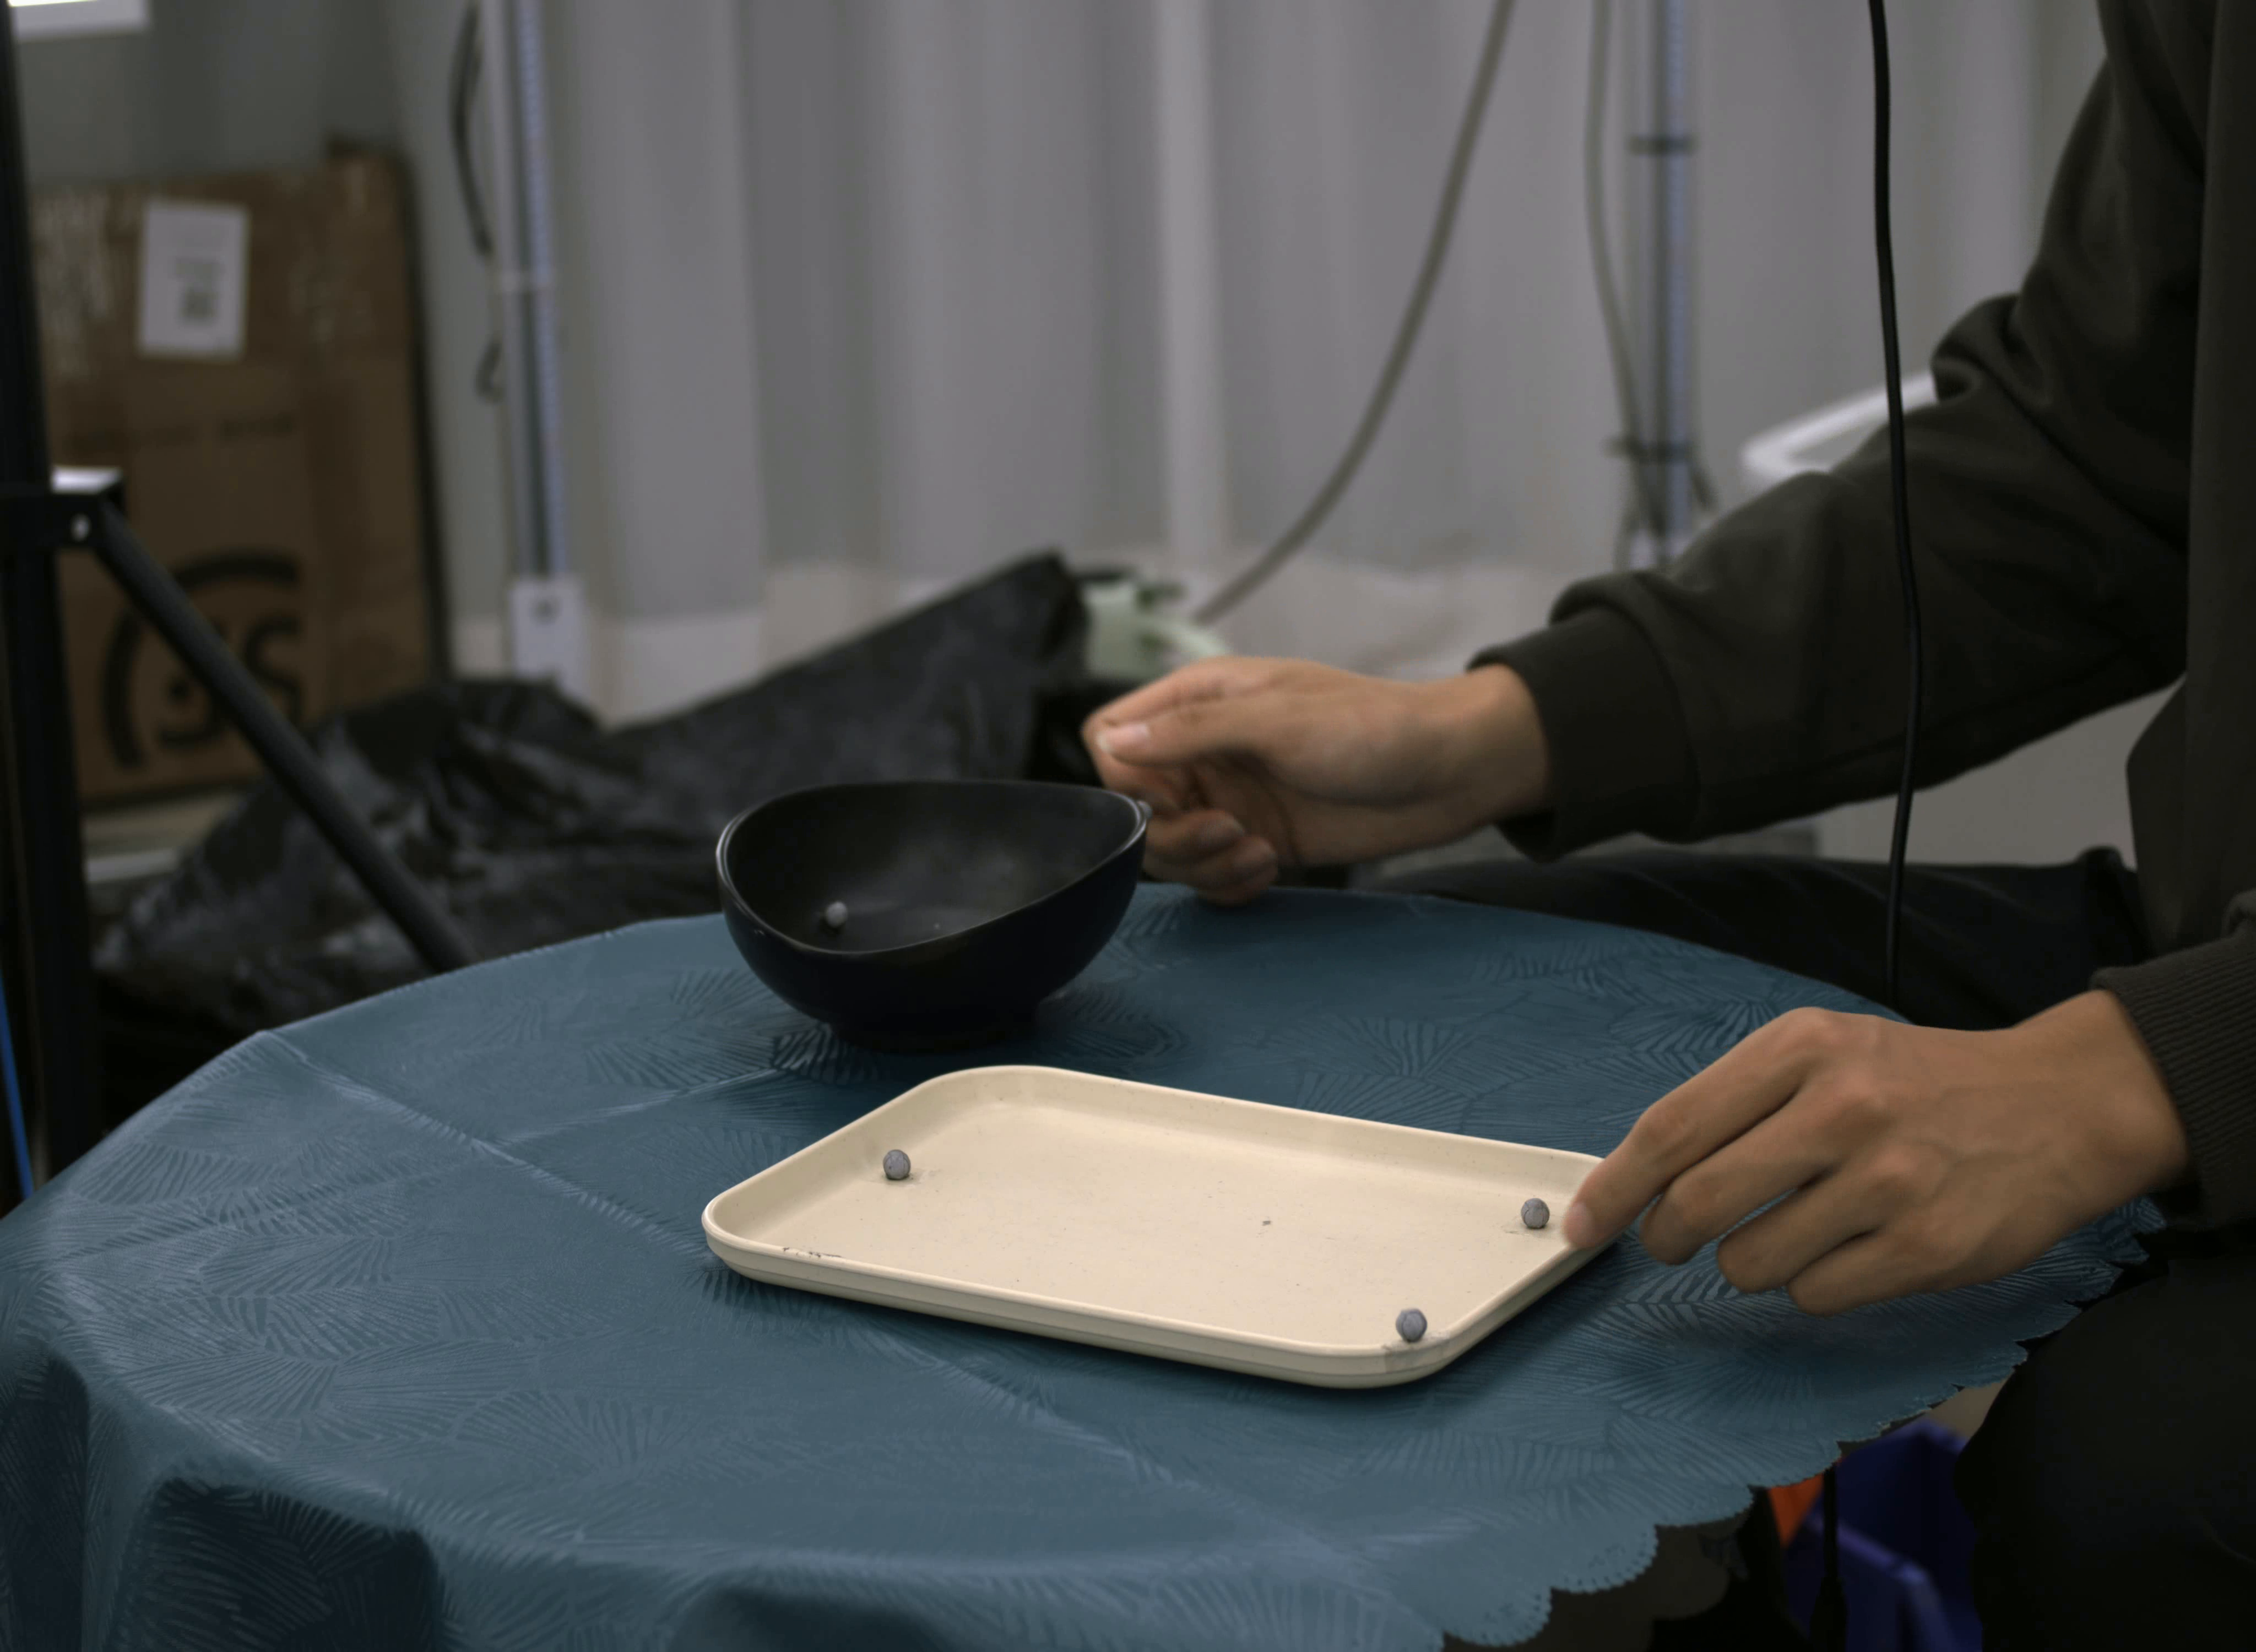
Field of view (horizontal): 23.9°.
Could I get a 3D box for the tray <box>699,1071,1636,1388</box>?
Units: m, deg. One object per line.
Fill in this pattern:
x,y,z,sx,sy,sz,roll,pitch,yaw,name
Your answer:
0.012,0.114,1.508,0.244,0.017,0.168,7,18,31,tray

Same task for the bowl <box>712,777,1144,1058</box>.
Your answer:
-0.063,0.034,1.719,0.138,0.066,0.169,1,18,16,bowl
